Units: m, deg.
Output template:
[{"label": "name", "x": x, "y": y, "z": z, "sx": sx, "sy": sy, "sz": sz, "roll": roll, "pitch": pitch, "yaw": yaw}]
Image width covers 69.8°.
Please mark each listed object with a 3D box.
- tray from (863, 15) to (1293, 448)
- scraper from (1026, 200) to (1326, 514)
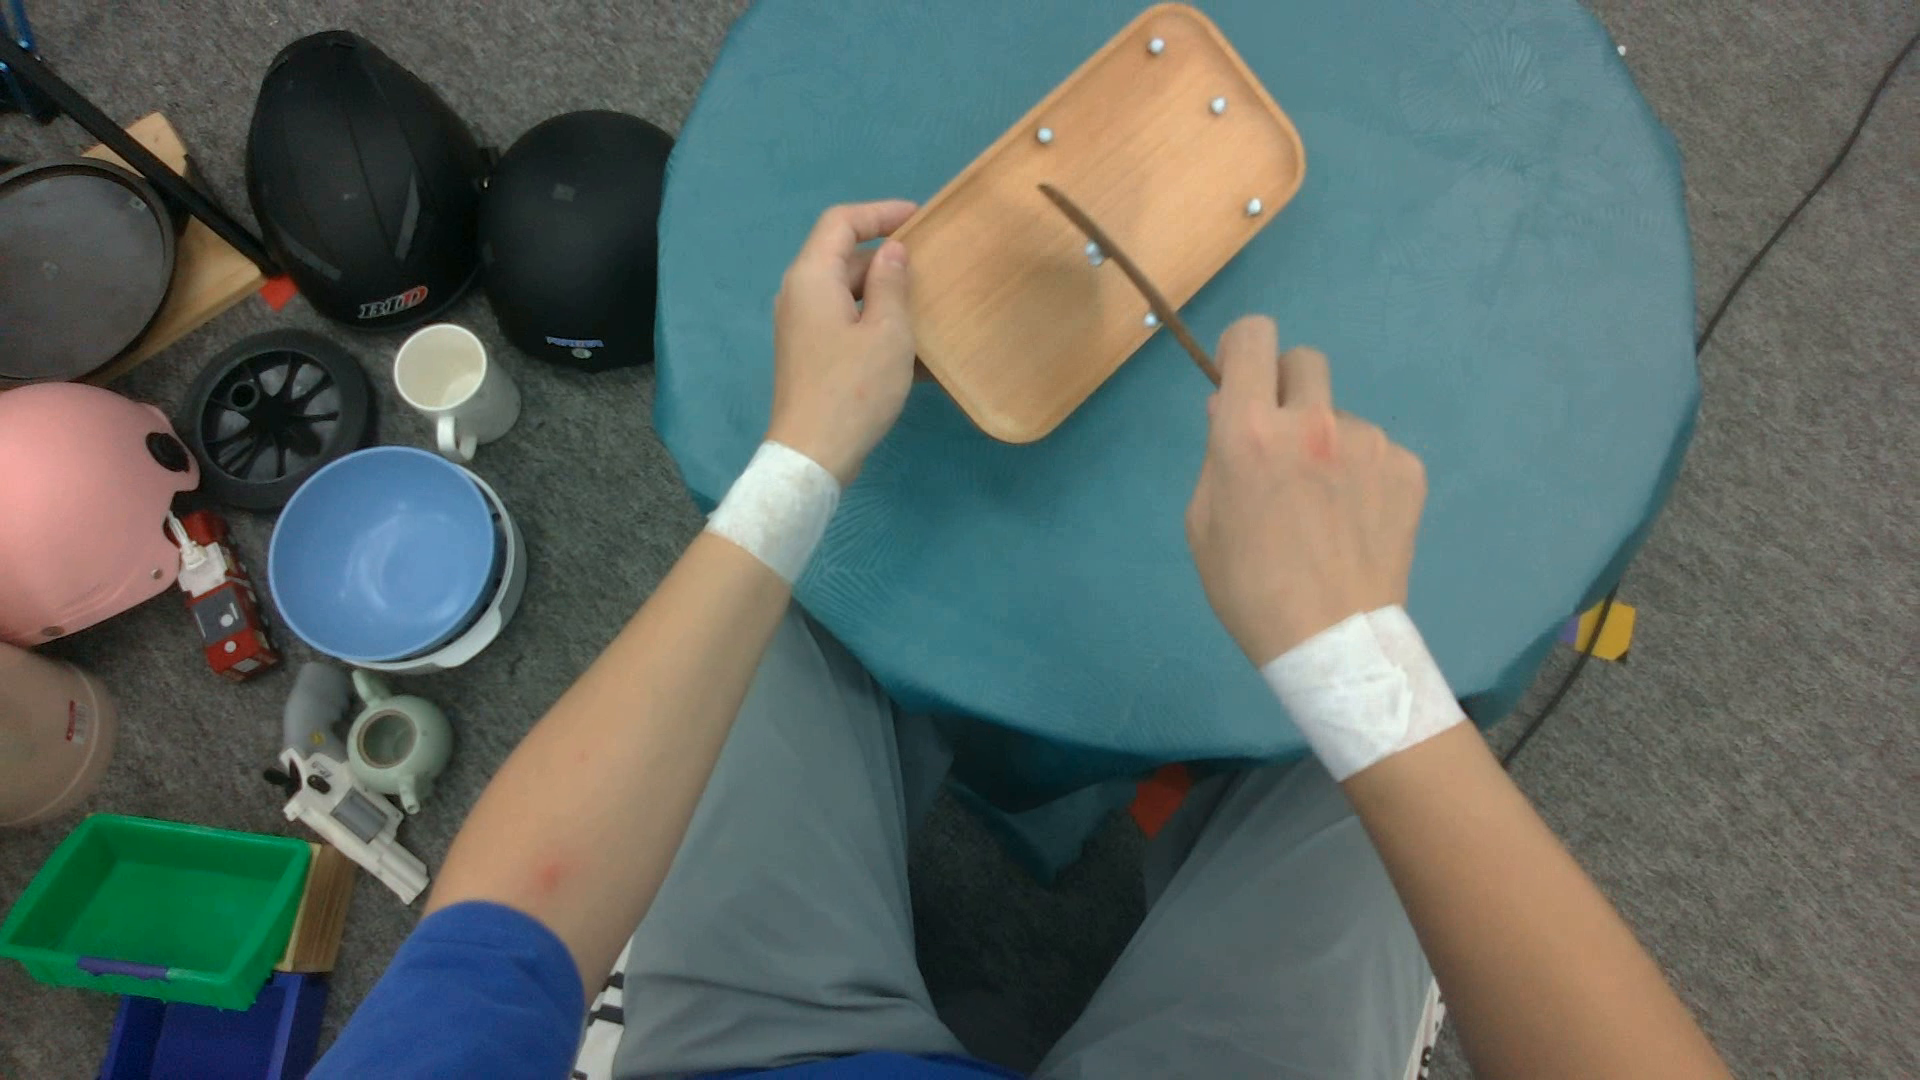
[{"label": "tray", "x": 0.067, "y": -0.166, "z": 0.731, "sx": 0.251, "sy": 0.023, "sz": 0.130, "roll": -44, "pitch": 96, "yaw": -16}, {"label": "scraper", "x": 0.100, "y": -0.087, "z": 0.635, "sx": 0.011, "sy": 0.076, "sz": 0.212, "roll": -44, "pitch": 56, "yaw": 15}]
